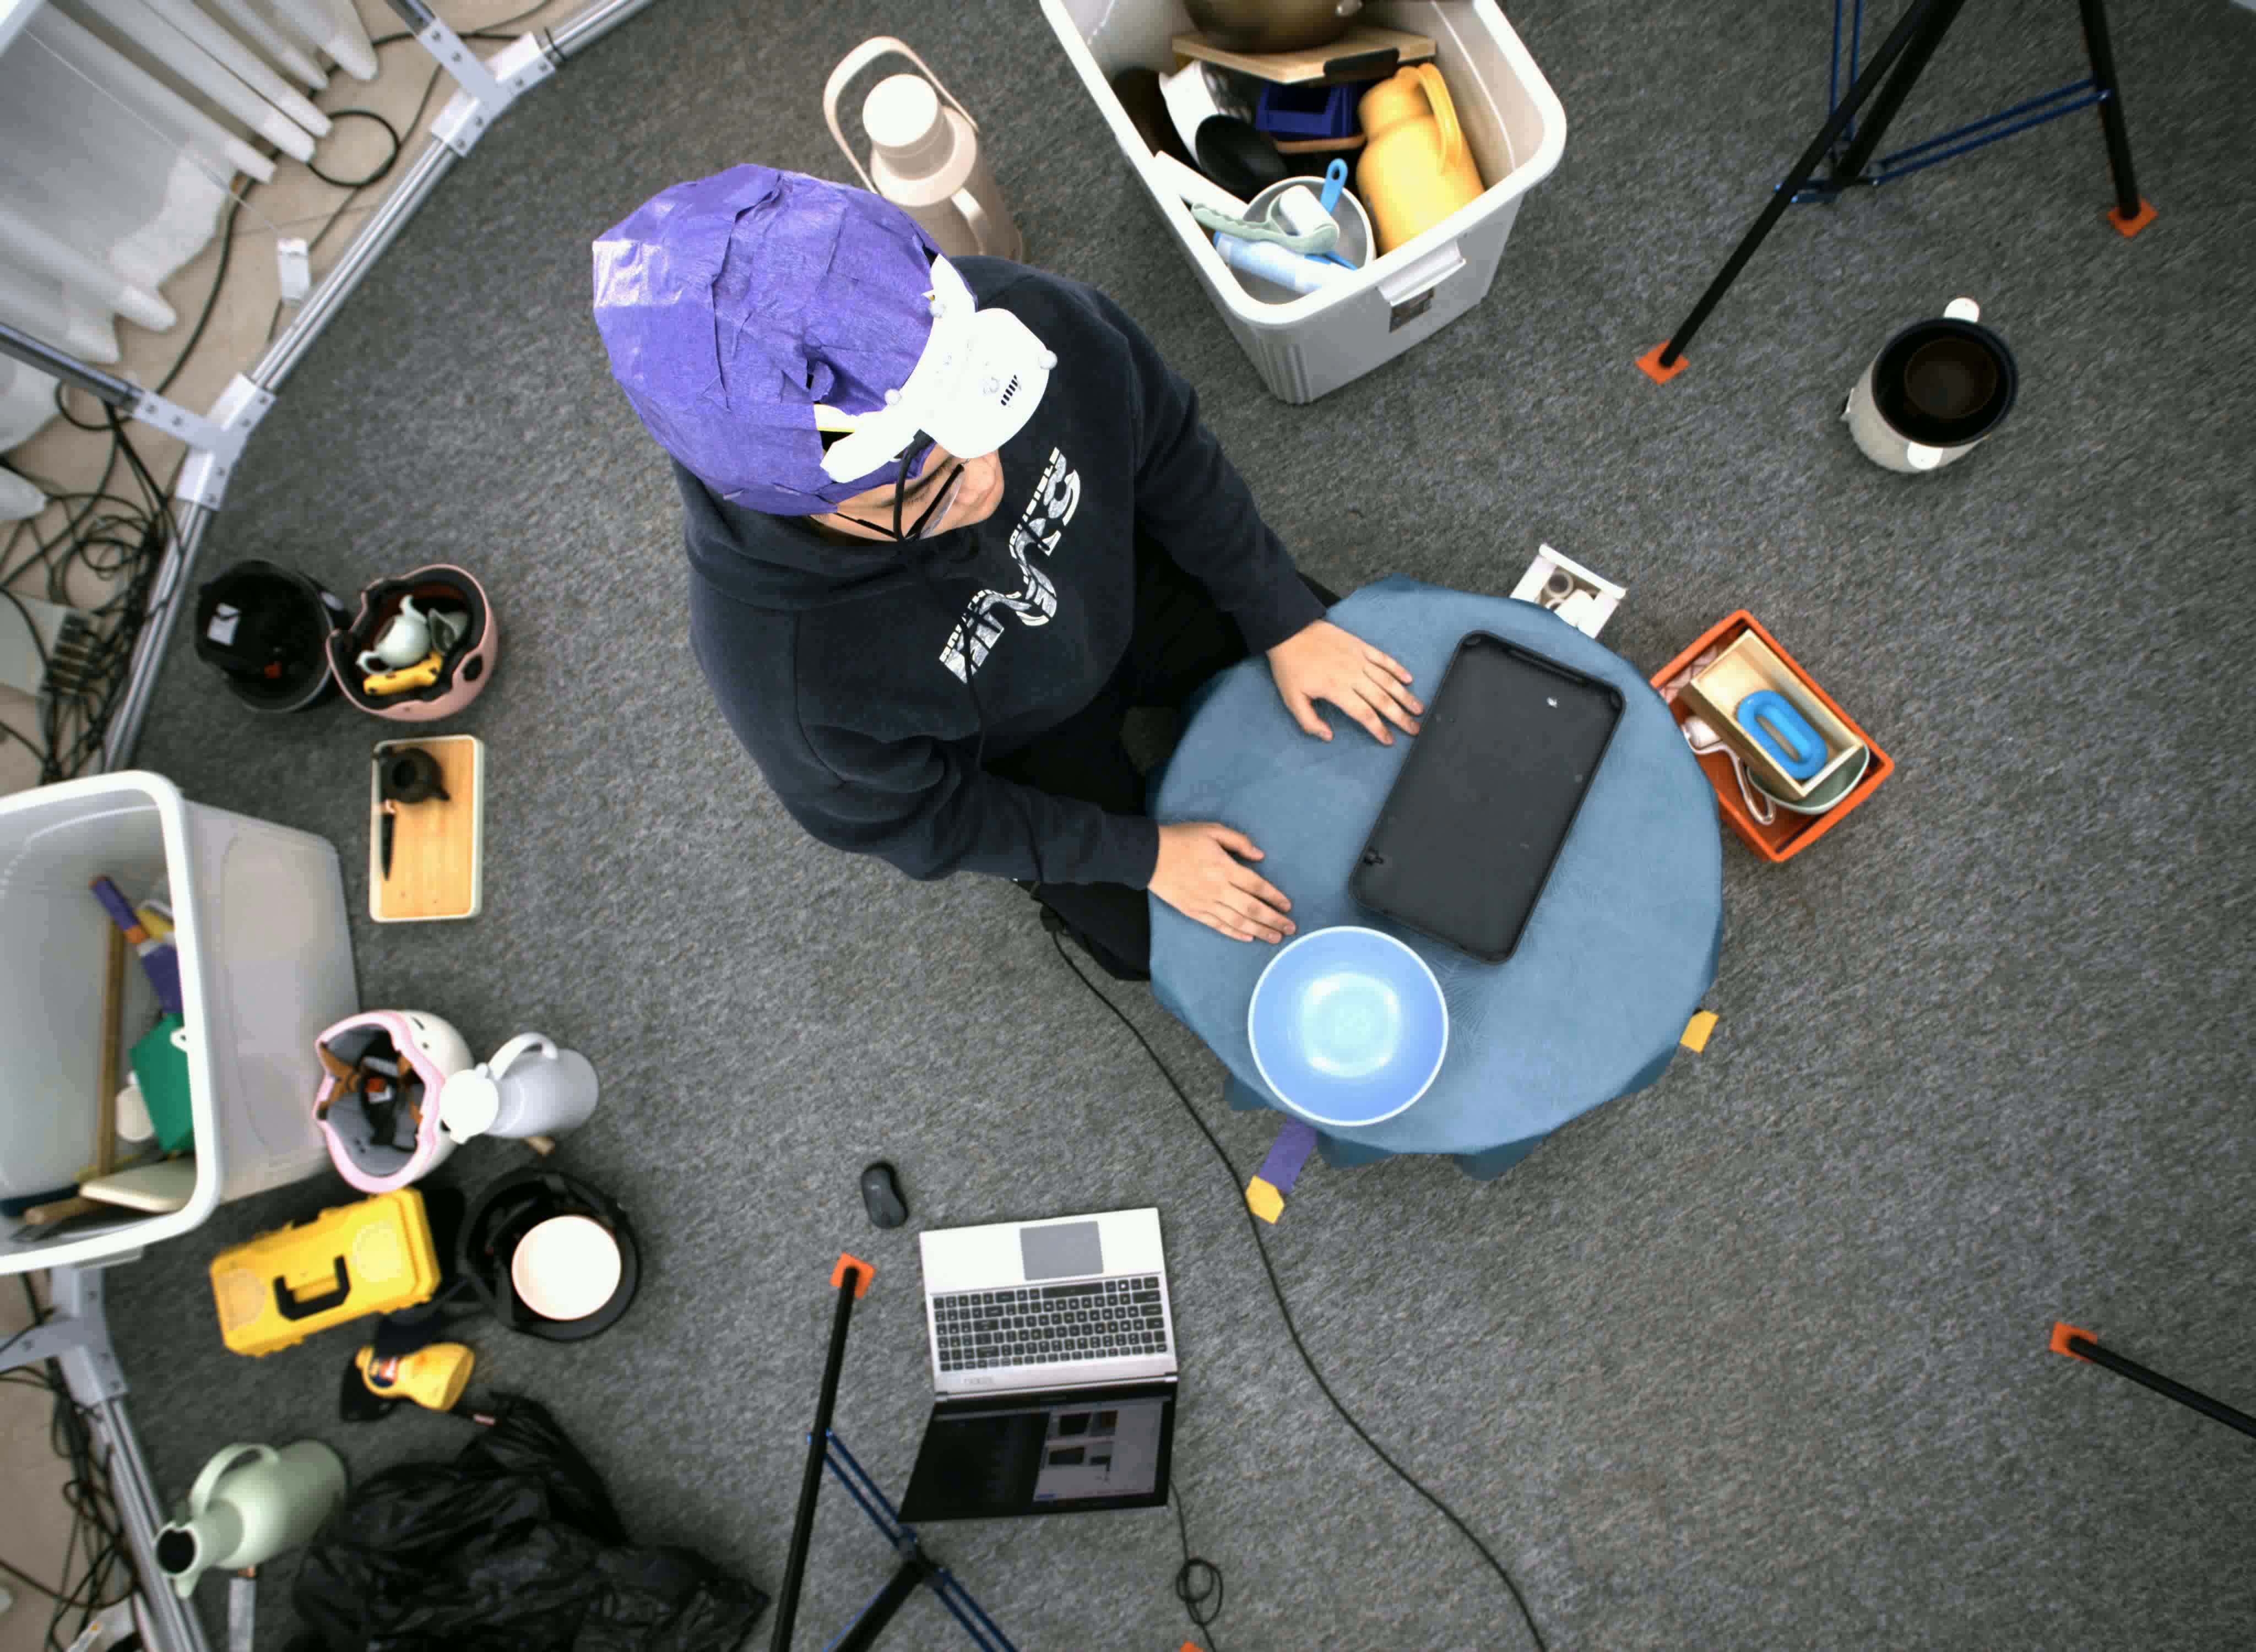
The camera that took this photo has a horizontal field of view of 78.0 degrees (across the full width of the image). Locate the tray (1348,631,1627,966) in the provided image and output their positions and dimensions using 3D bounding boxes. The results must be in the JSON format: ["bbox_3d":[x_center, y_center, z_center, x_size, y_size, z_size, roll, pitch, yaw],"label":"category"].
[{"bbox_3d":[0.372,-0.031,1.428,0.184,0.037,0.318,25,91,12],"label":"tray"}]

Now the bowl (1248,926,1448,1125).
[{"bbox_3d":[0.225,0.199,1.413,0.197,0.095,0.196,-1,87,11],"label":"bowl"}]
